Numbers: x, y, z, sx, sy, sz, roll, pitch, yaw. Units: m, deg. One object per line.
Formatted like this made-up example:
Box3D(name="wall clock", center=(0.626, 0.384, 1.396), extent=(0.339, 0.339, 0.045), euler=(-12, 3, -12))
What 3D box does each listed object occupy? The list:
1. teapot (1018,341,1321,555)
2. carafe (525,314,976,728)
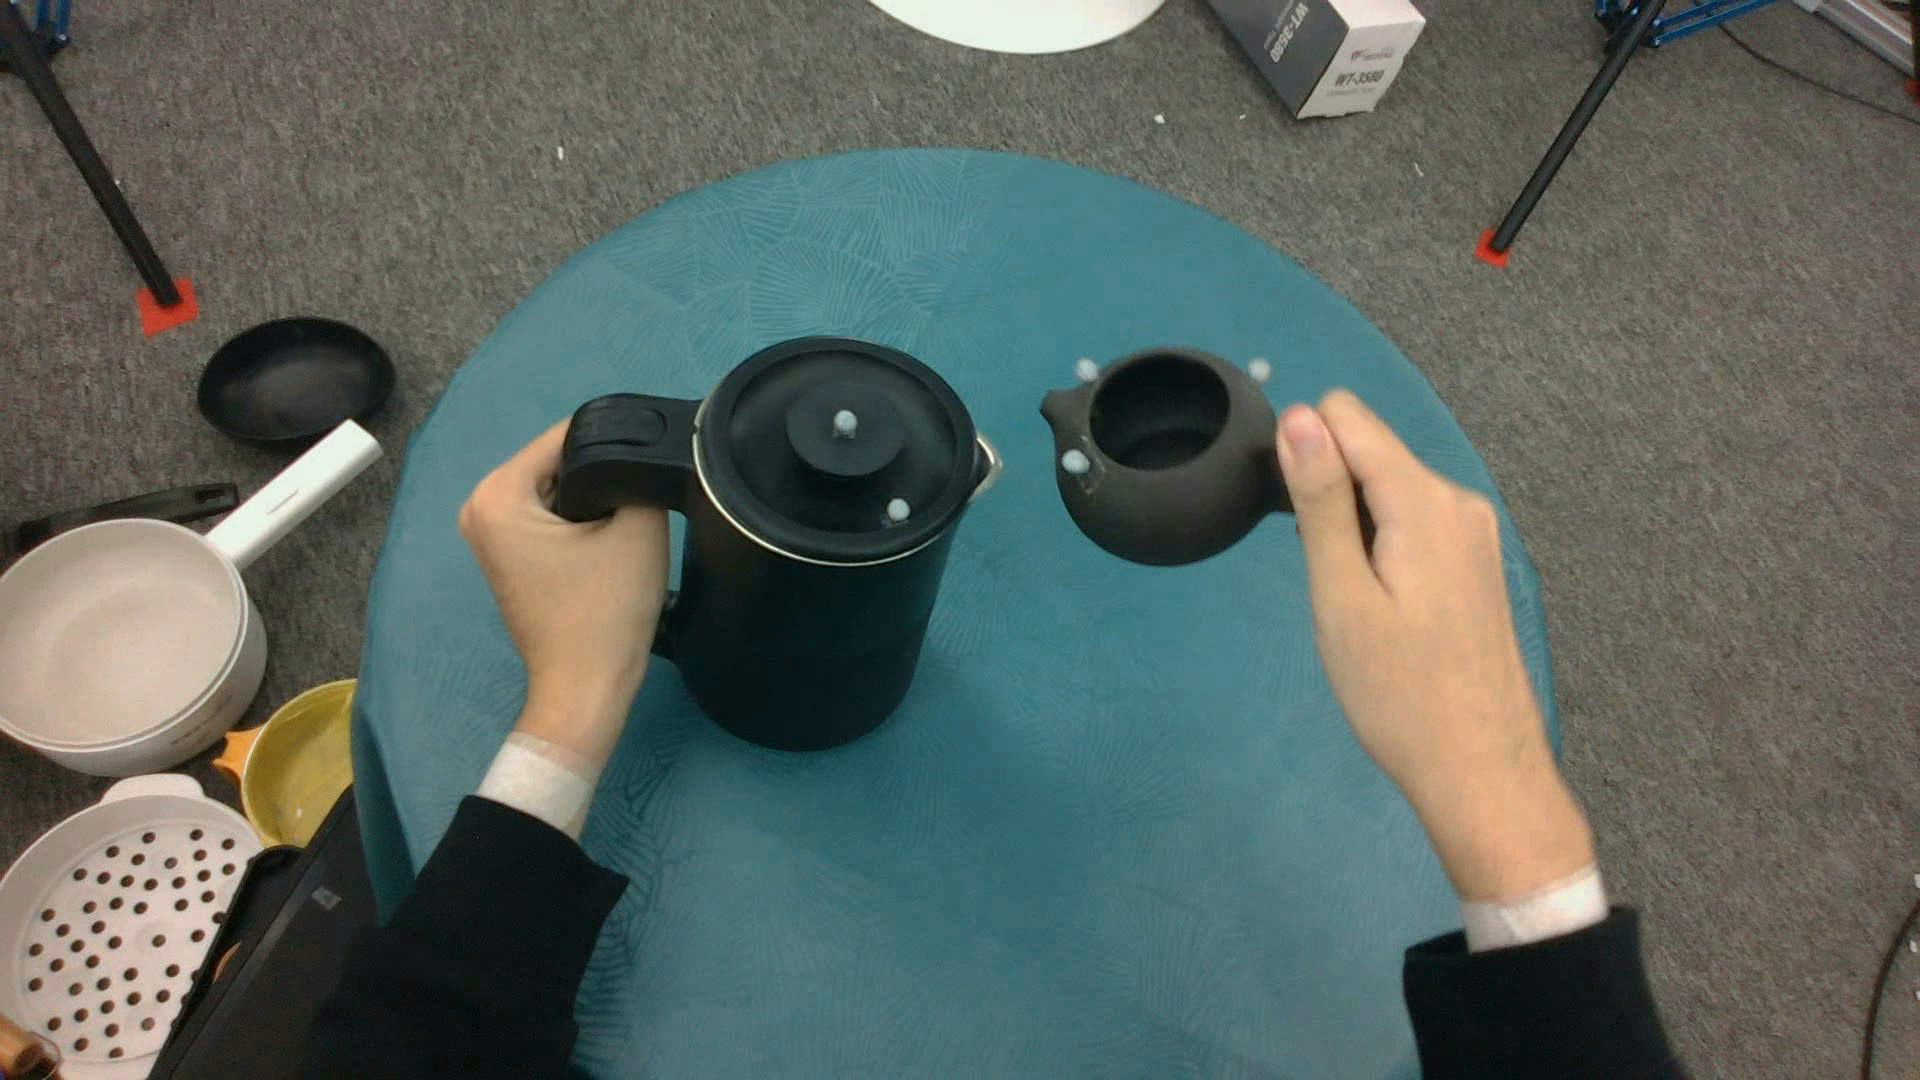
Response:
Box3D(name="teapot", center=(0.076, -0.032, 0.504), extent=(0.114, 0.053, 0.083), euler=(19, 64, 26))
Box3D(name="carafe", center=(-0.094, -0.007, 0.578), extent=(0.172, 0.172, 0.115), euler=(5, 58, -13))
